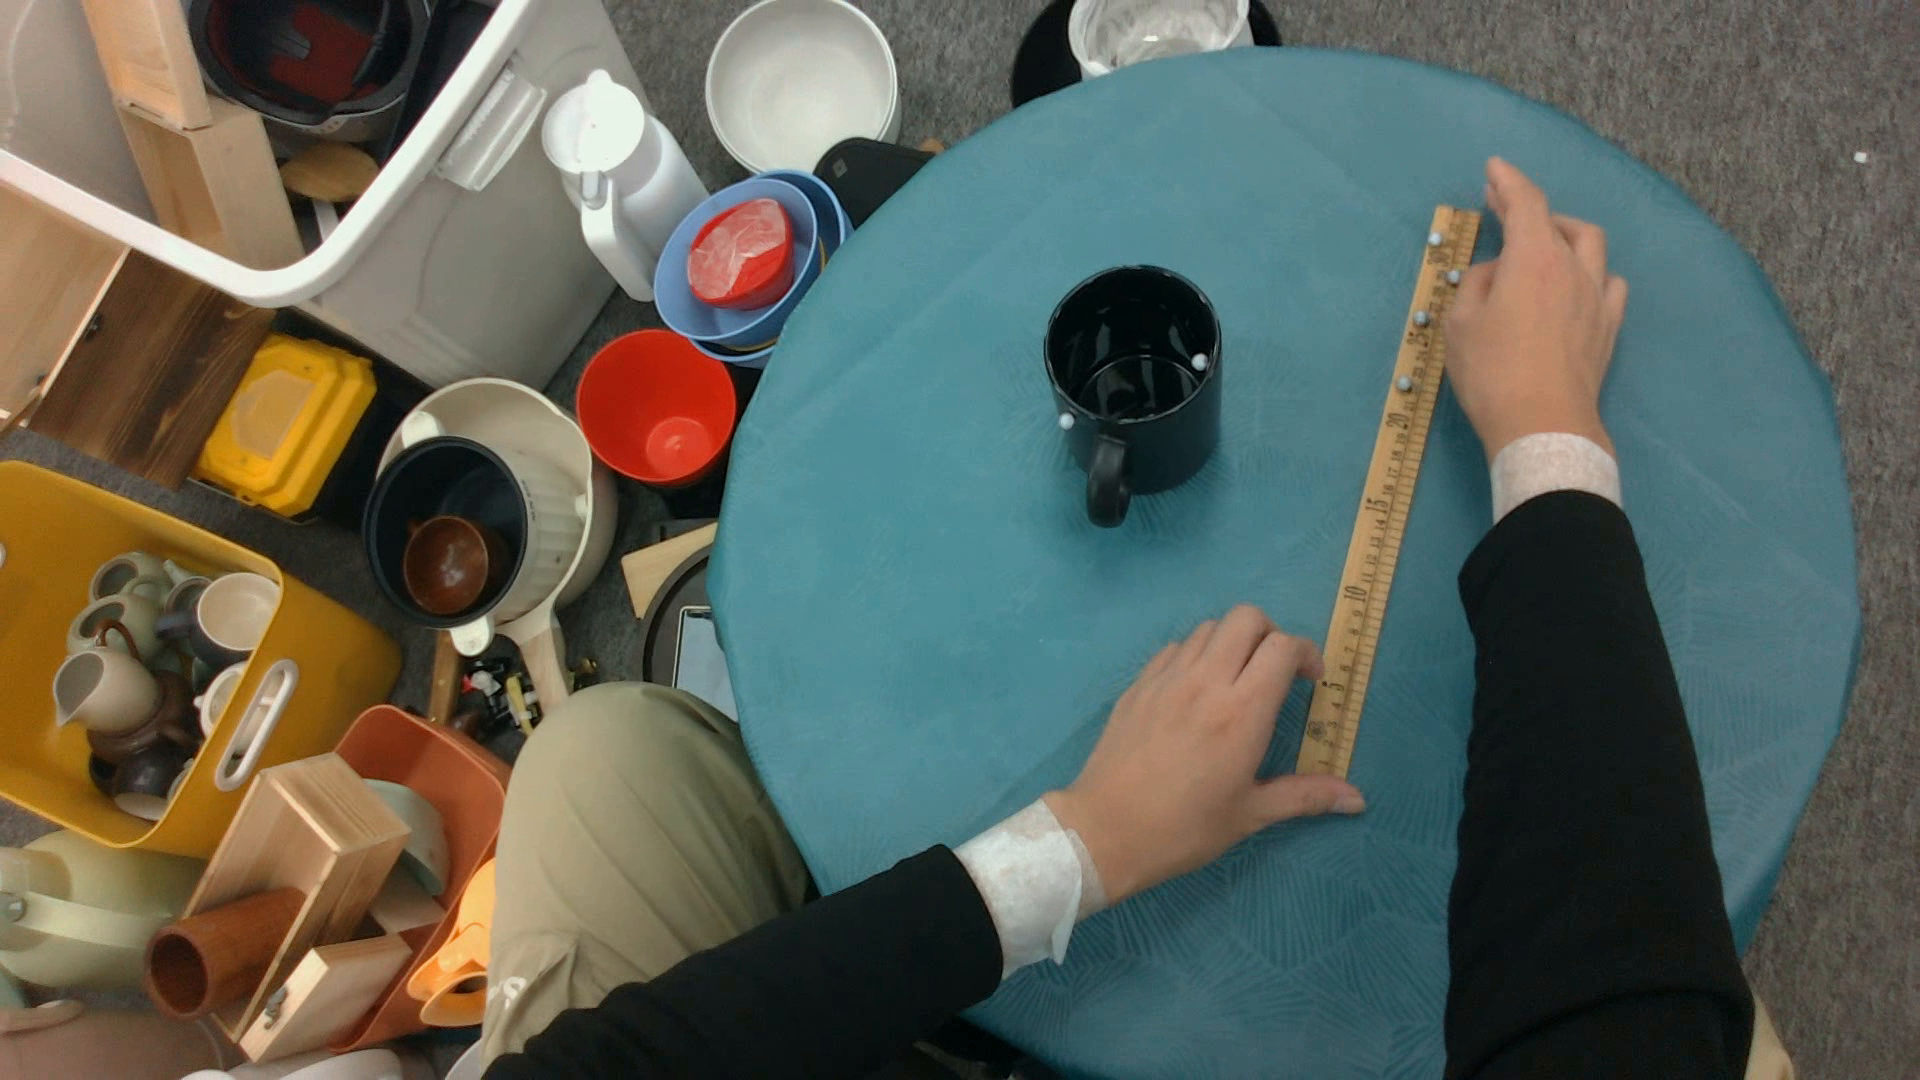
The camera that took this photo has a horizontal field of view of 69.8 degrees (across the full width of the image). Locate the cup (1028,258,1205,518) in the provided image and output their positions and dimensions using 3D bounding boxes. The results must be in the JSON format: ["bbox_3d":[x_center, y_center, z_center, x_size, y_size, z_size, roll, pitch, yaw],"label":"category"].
[{"bbox_3d":[0.078,-0.070,0.723,0.088,0.105,0.124,14,75,12],"label":"cup"}]

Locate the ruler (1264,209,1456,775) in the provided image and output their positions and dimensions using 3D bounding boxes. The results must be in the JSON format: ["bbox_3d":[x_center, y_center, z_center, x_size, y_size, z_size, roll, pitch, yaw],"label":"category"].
[{"bbox_3d":[0.218,-0.037,0.737,0.027,0.022,0.333,13,73,22],"label":"ruler"}]
